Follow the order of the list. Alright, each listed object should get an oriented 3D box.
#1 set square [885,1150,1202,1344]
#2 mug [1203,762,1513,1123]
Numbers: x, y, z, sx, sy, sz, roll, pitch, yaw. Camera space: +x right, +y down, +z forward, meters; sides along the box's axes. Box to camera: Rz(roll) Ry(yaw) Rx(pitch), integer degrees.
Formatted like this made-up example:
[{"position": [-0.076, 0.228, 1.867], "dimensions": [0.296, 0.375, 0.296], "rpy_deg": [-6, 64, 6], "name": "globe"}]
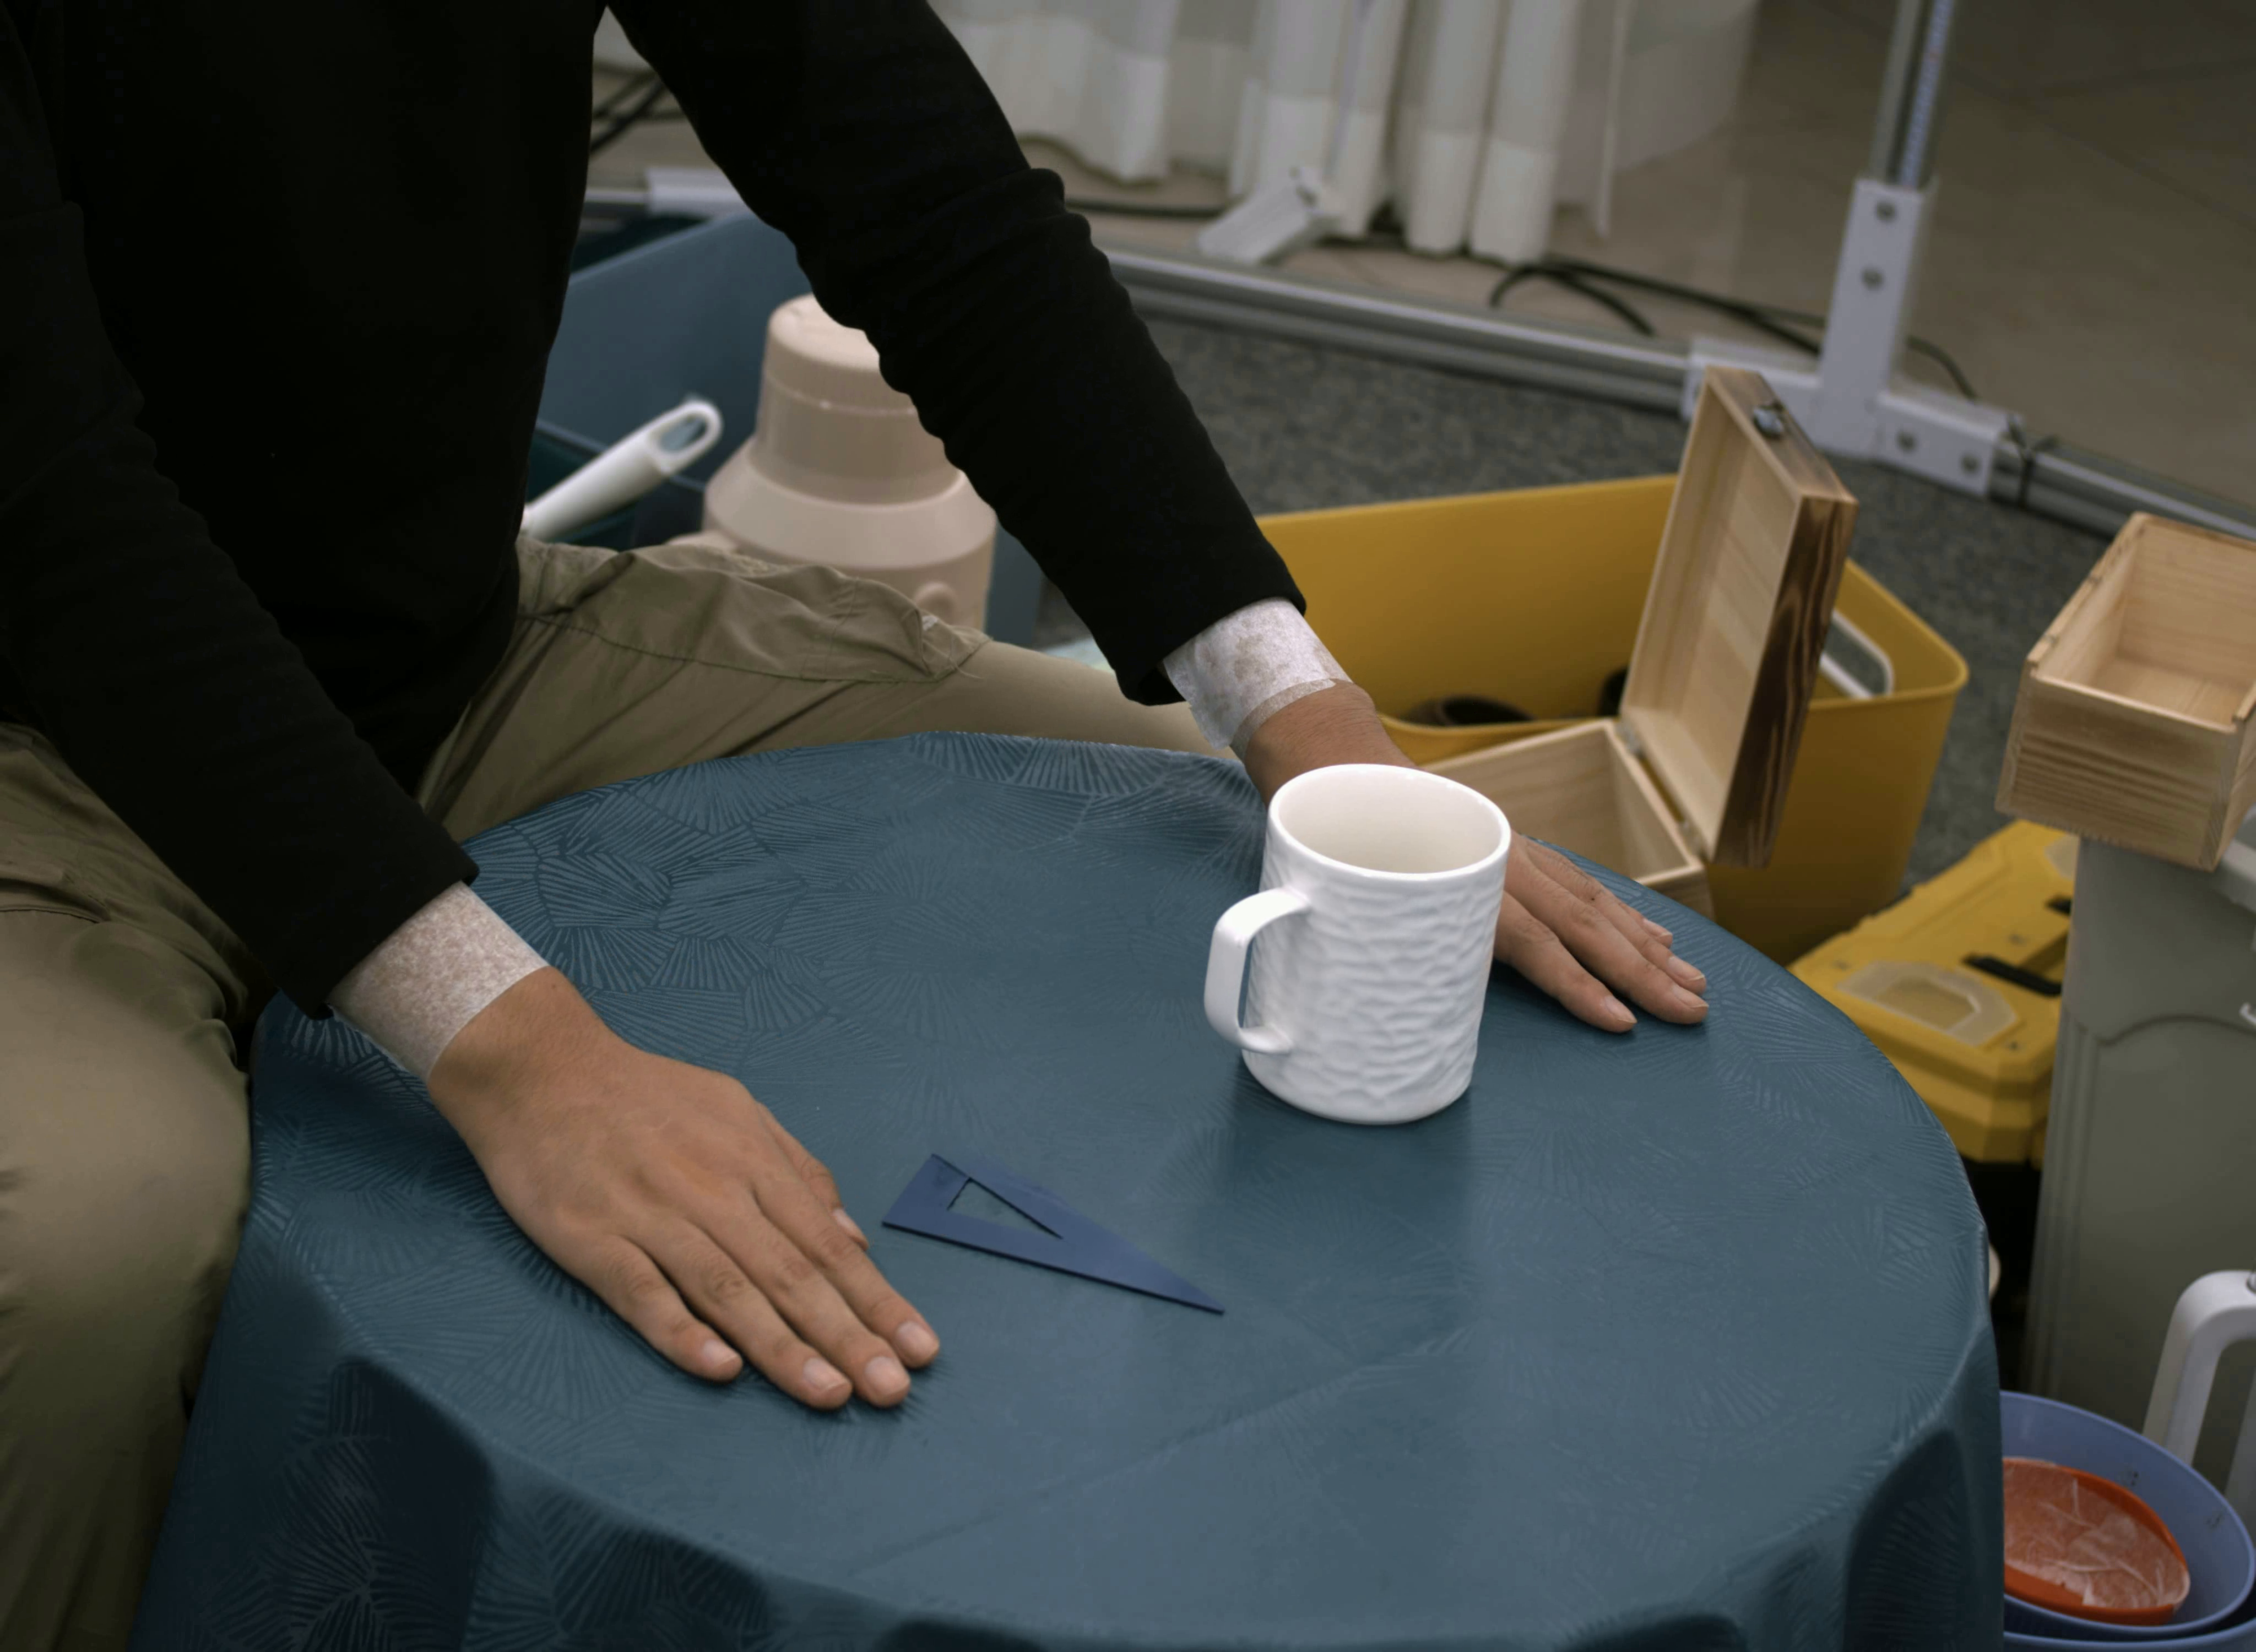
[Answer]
[{"position": [-0.035, 0.142, 1.753], "dimensions": [0.061, 0.006, 0.133], "rpy_deg": [-13, 33, -36], "name": "set square"}, {"position": [0.074, 0.045, 1.859], "dimensions": [0.117, 0.101, 0.085], "rpy_deg": [-16, 35, -39], "name": "mug"}]
